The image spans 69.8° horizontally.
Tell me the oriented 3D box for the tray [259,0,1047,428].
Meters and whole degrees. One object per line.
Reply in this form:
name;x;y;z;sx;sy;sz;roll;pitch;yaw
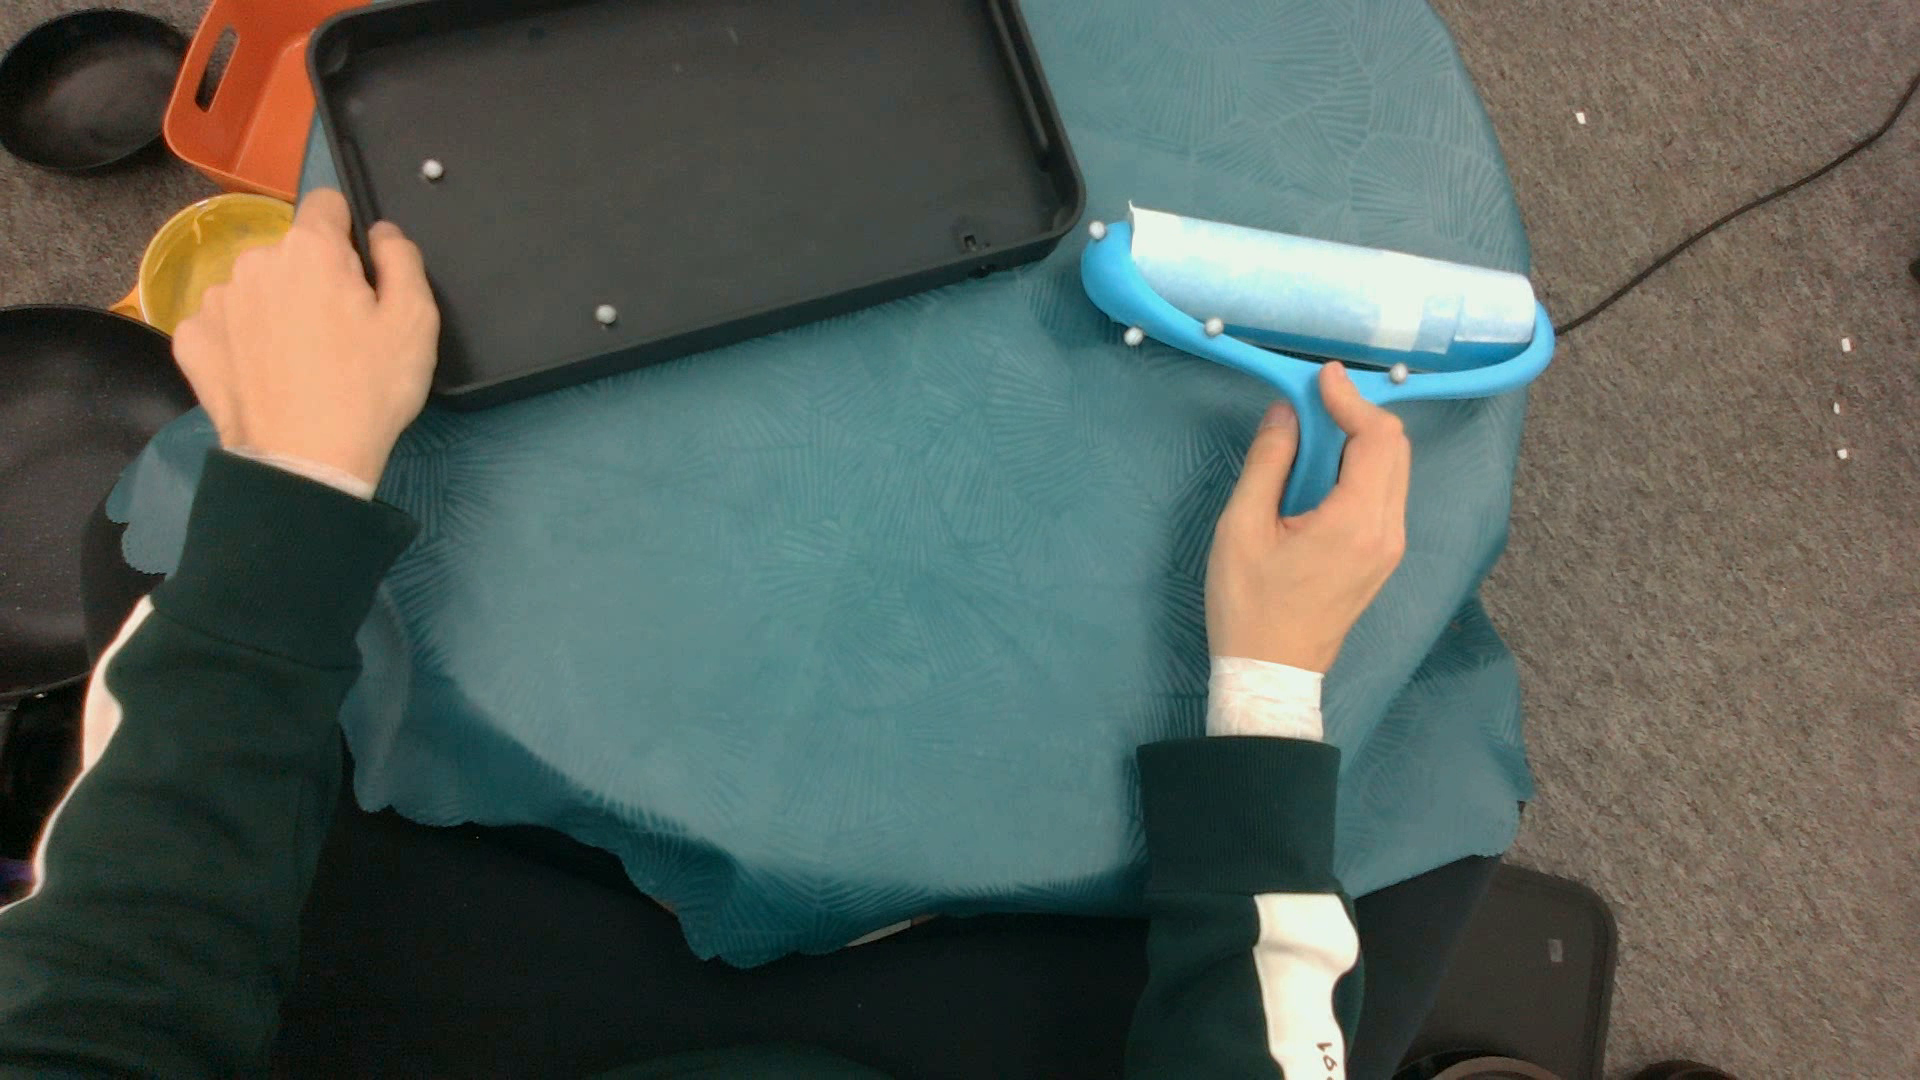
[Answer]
tray;-0.133;-0.181;0.636;0.318;0.037;0.184;-21;82;-15

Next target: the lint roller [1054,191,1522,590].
lint roller;0.156;-0.070;0.648;0.229;0.068;0.180;5;76;-9
